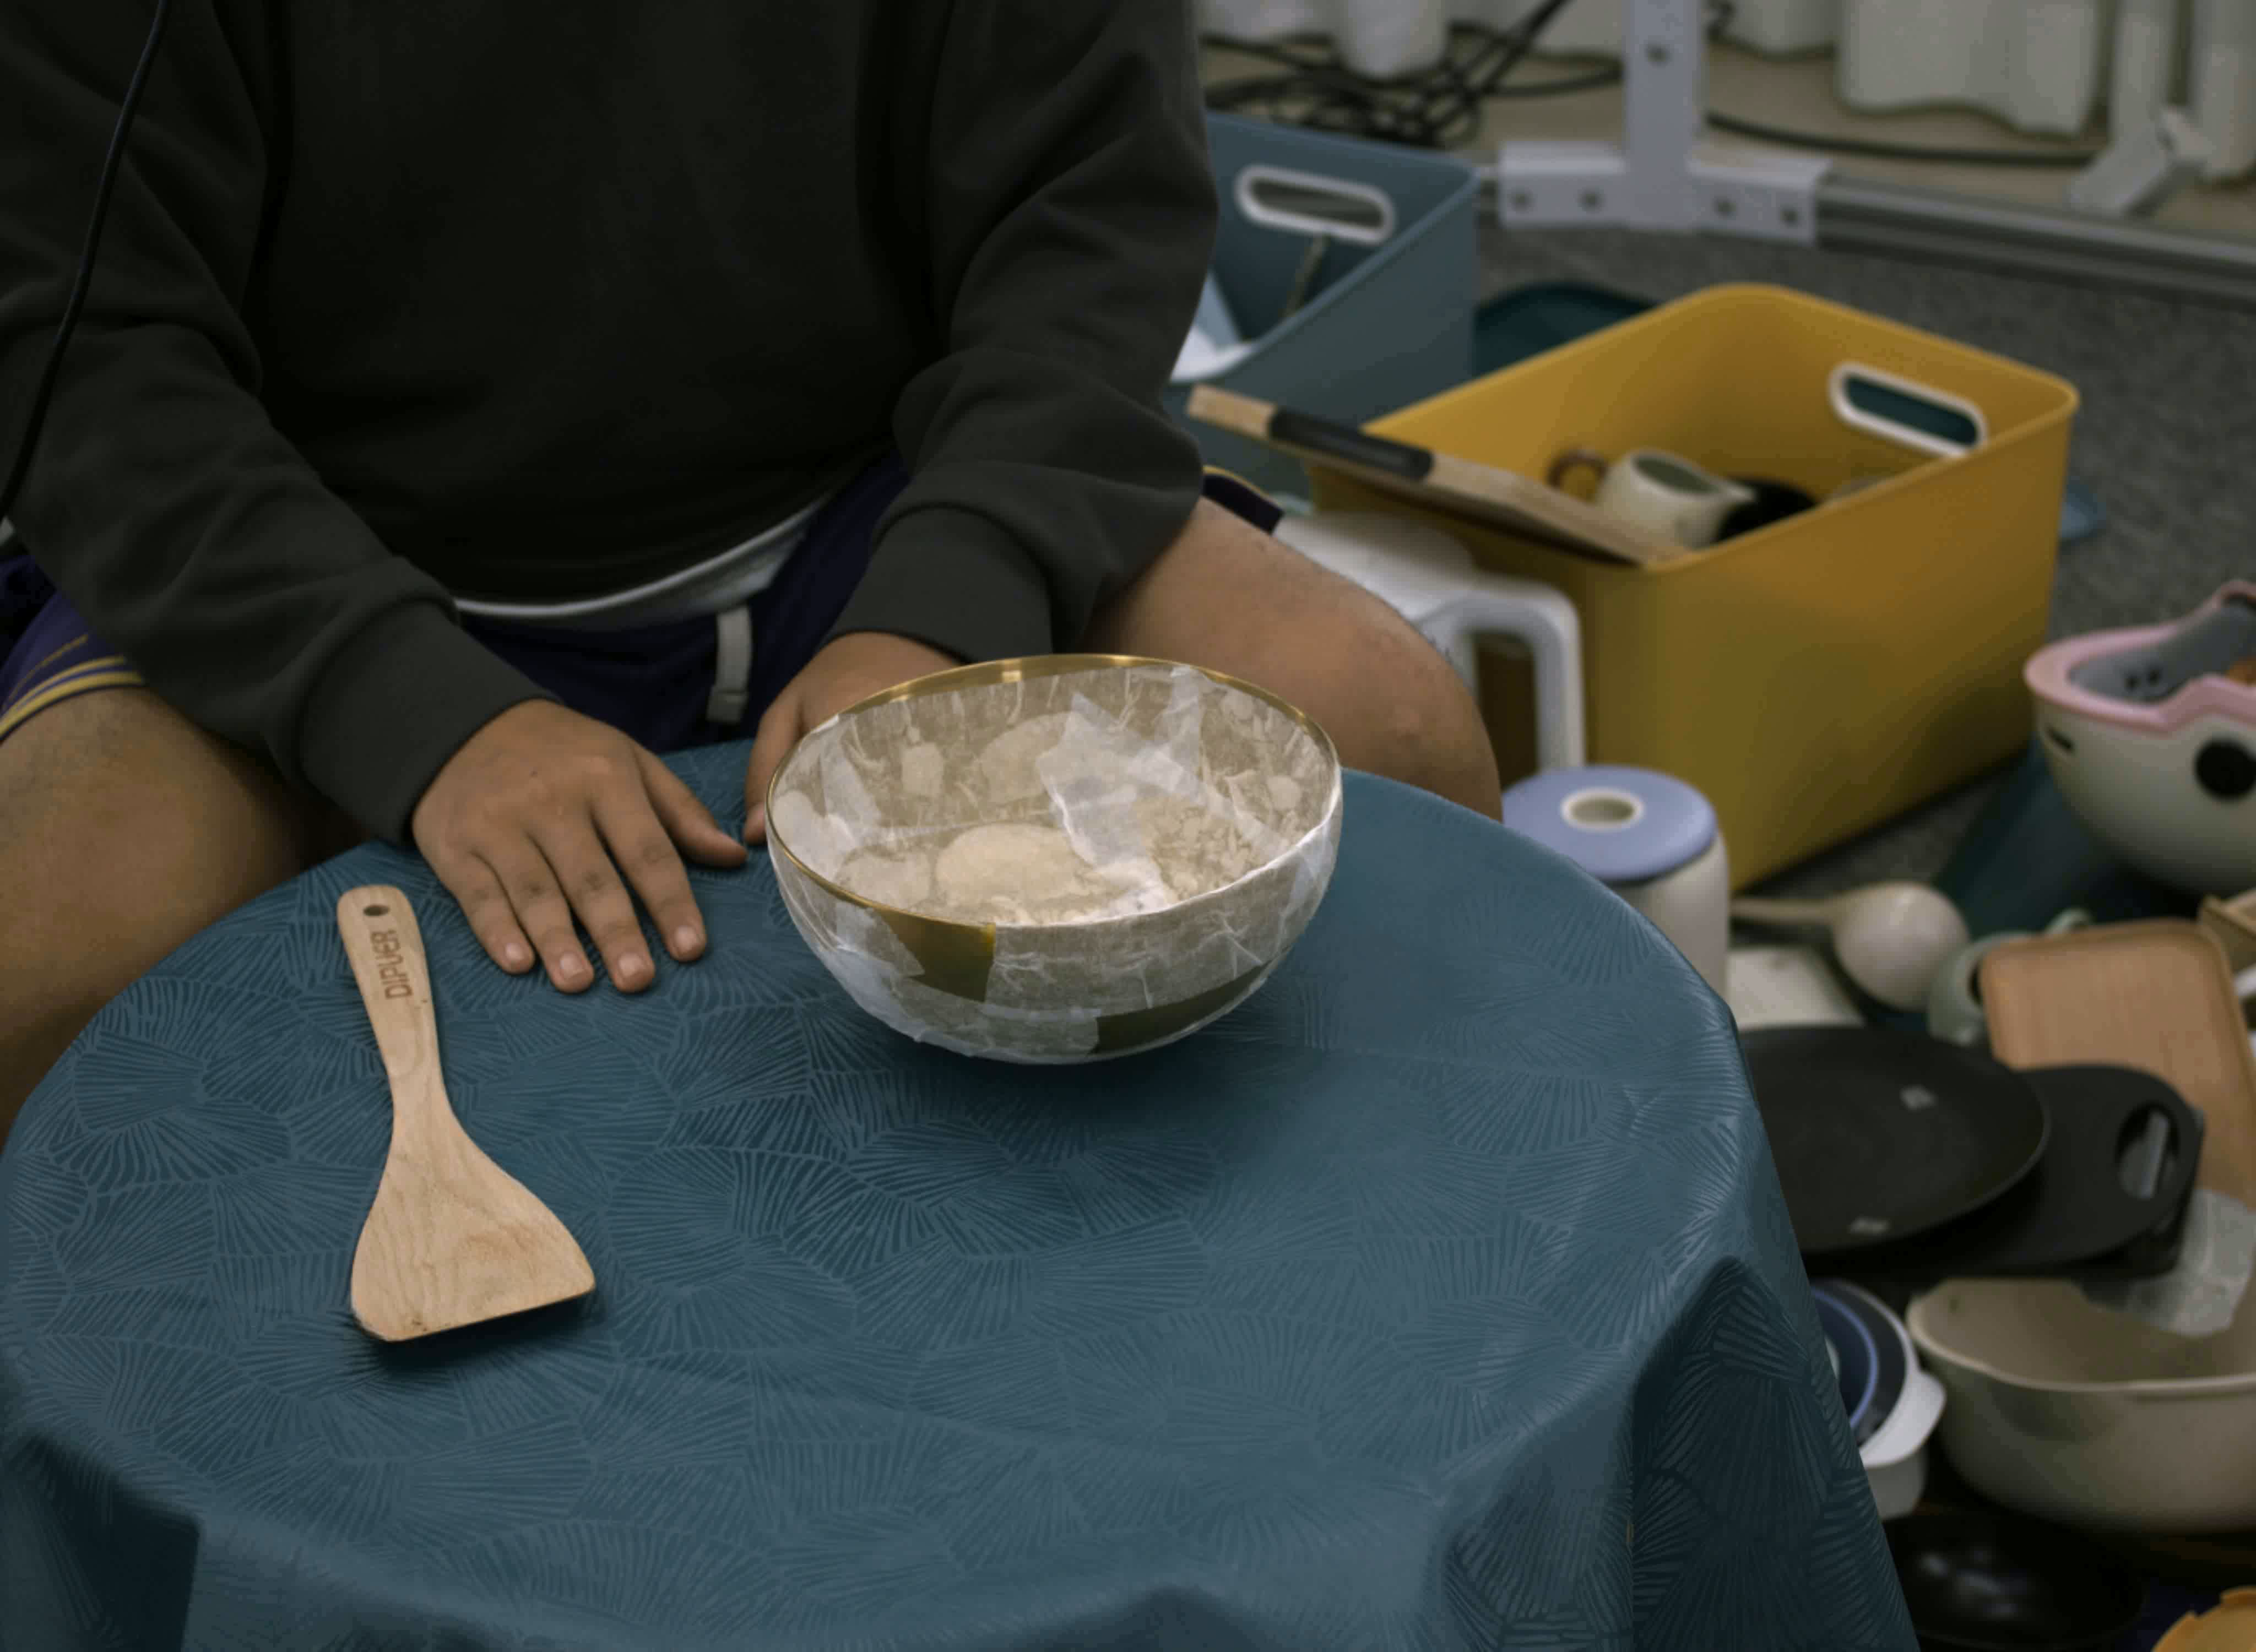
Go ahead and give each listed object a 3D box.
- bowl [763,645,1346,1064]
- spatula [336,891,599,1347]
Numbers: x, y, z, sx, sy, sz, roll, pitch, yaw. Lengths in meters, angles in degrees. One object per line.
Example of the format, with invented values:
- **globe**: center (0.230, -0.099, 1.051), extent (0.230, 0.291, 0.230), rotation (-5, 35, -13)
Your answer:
- **bowl**: center (-0.024, 0.021, 1.956), extent (0.213, 0.093, 0.218), rotation (-2, 28, 2)
- **spatula**: center (-0.241, 0.094, 1.922), extent (0.080, 0.016, 0.331), rotation (-9, 28, -10)
